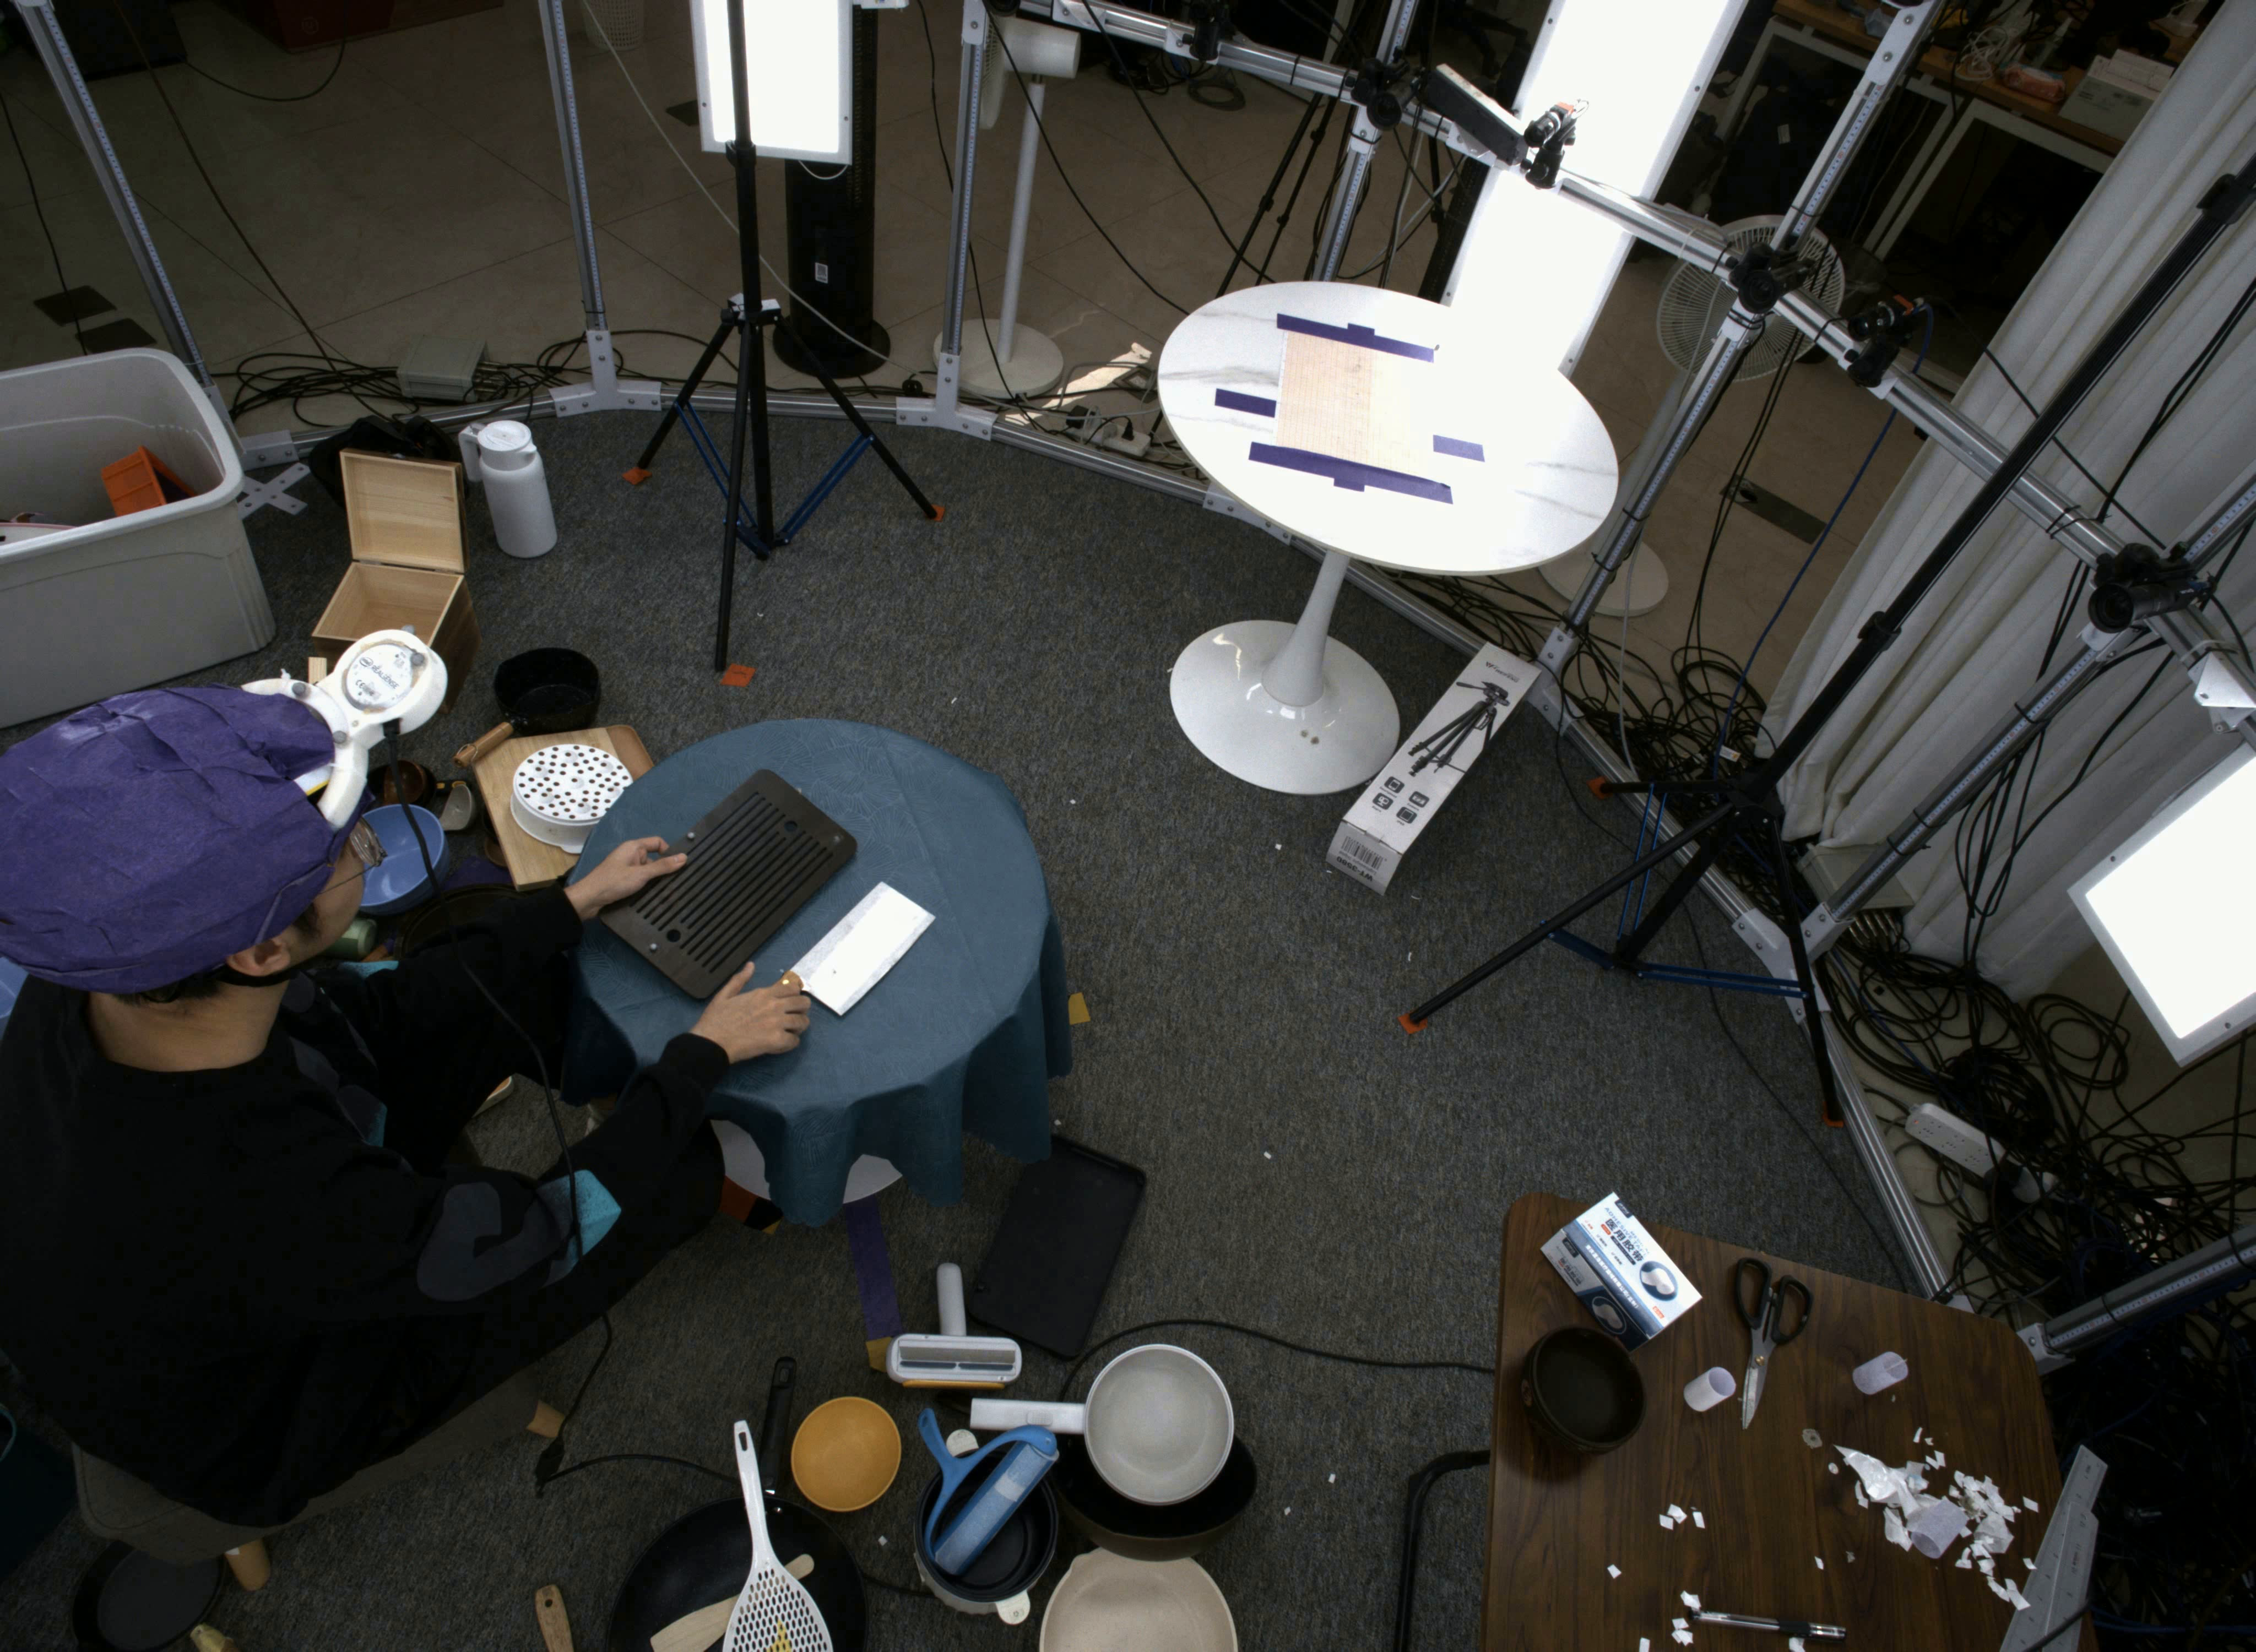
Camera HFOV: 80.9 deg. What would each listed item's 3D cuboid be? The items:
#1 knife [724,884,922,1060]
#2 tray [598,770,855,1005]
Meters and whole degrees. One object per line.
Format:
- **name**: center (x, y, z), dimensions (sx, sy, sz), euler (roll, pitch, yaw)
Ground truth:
- **knife**: center (-0.362, 0.182, 1.584), dimensions (0.091, 0.021, 0.305), euler (33, 50, 9)
- **tray**: center (-0.497, 0.069, 1.609), dimensions (0.170, 0.019, 0.305), euler (41, 53, 0)
